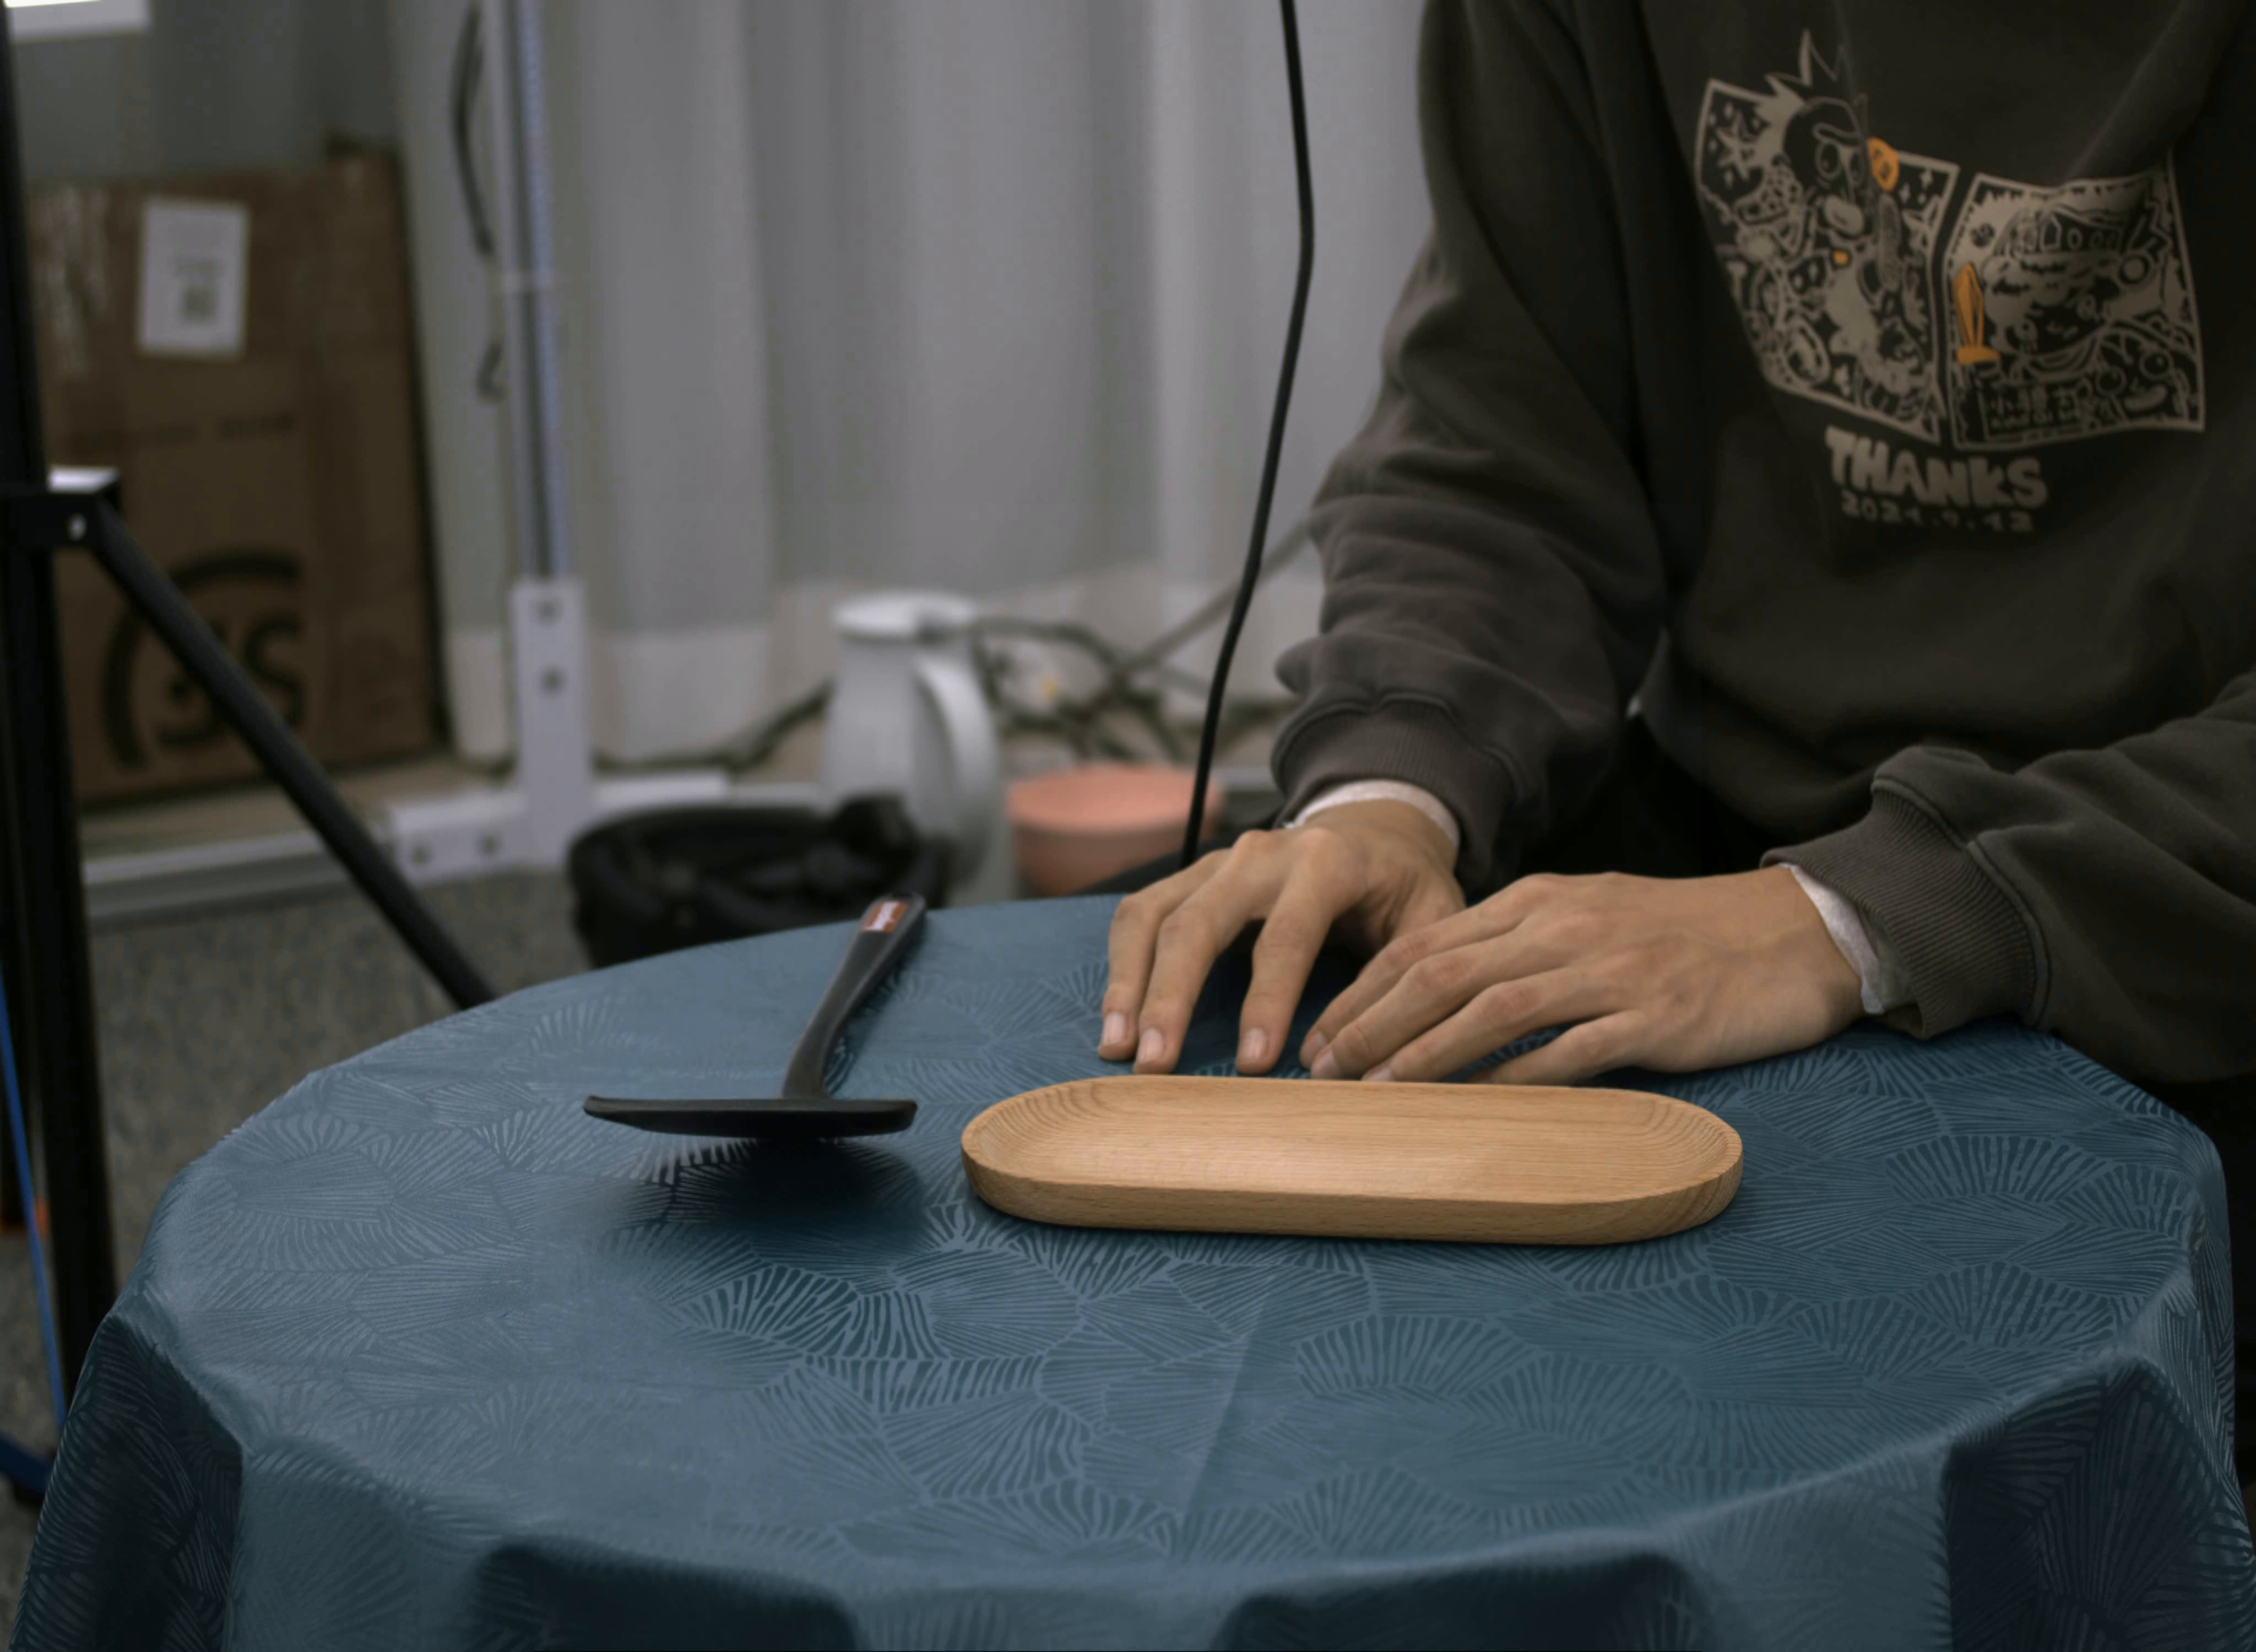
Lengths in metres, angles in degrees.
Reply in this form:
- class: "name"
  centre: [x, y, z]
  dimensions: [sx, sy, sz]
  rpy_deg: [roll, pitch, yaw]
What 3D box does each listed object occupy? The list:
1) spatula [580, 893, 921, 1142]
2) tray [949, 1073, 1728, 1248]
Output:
- class: "spatula"
  centre: [-0.096, 0.056, 1.695]
  dimensions: [0.100, 0.040, 0.326]
  rpy_deg: [0, 16, 6]
- class: "tray"
  centre: [0.061, 0.098, 1.557]
  dimensions: [0.233, 0.020, 0.101]
  rpy_deg: [0, 15, 15]
